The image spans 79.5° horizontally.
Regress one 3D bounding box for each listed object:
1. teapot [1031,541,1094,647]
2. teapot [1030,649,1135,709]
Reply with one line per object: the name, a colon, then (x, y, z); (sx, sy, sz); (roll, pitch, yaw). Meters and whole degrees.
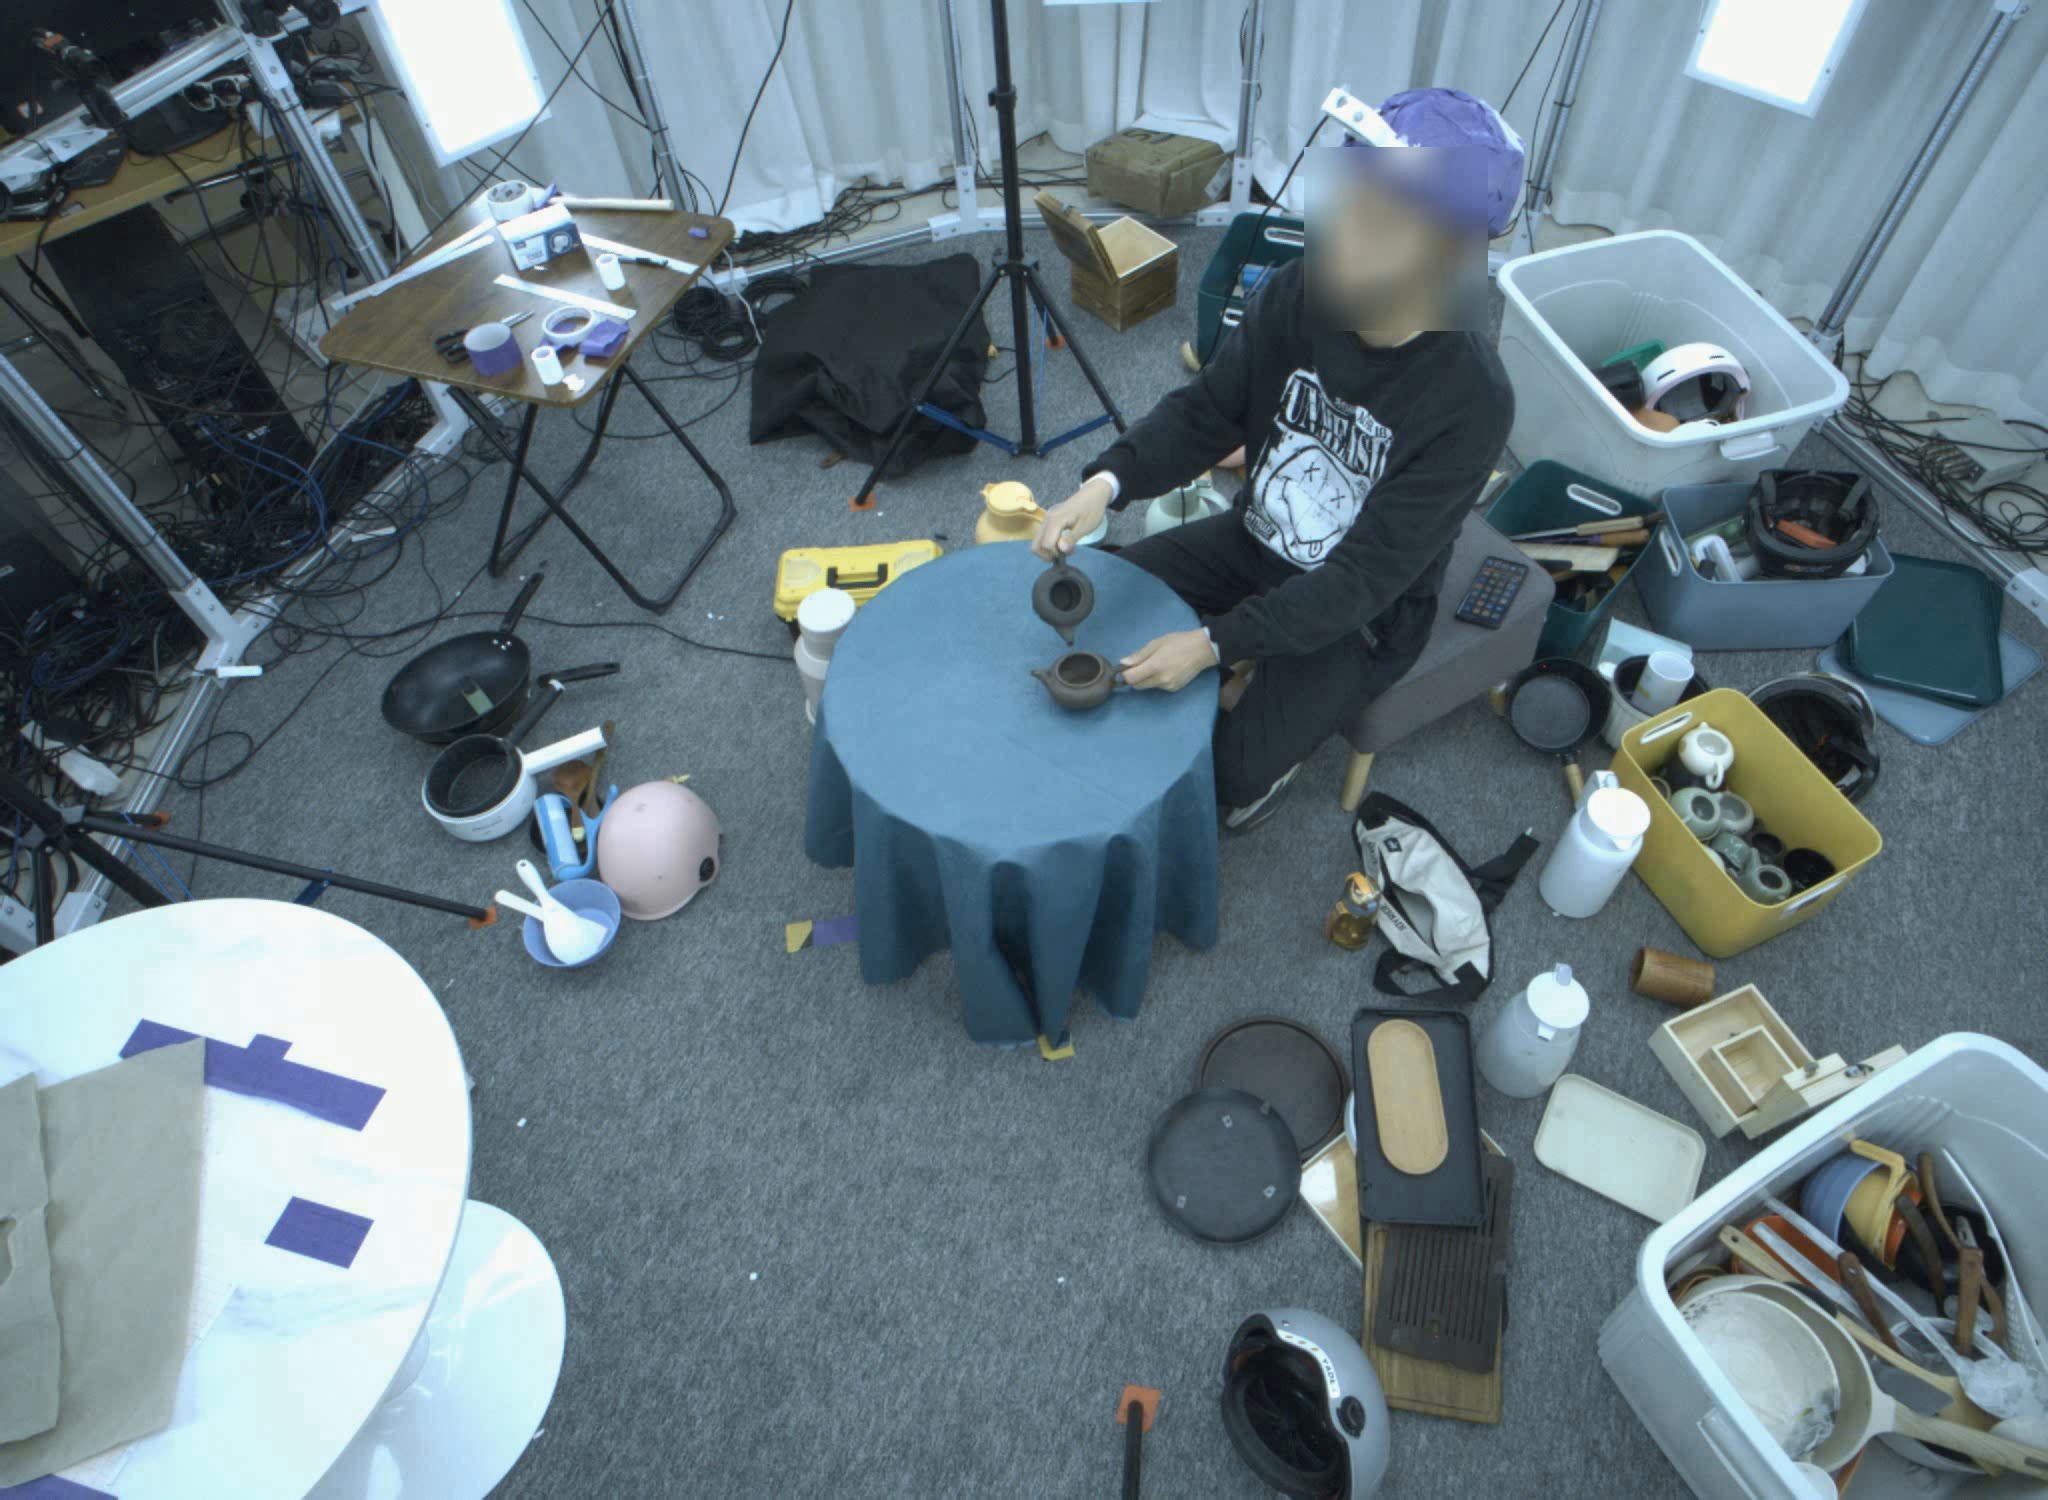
teapot: (0.055, -0.227, 1.786); (0.093, 0.063, 0.154); (-6, 96, -15)
teapot: (0.087, -0.107, 1.821); (0.153, 0.054, 0.101); (-9, 53, 0)
